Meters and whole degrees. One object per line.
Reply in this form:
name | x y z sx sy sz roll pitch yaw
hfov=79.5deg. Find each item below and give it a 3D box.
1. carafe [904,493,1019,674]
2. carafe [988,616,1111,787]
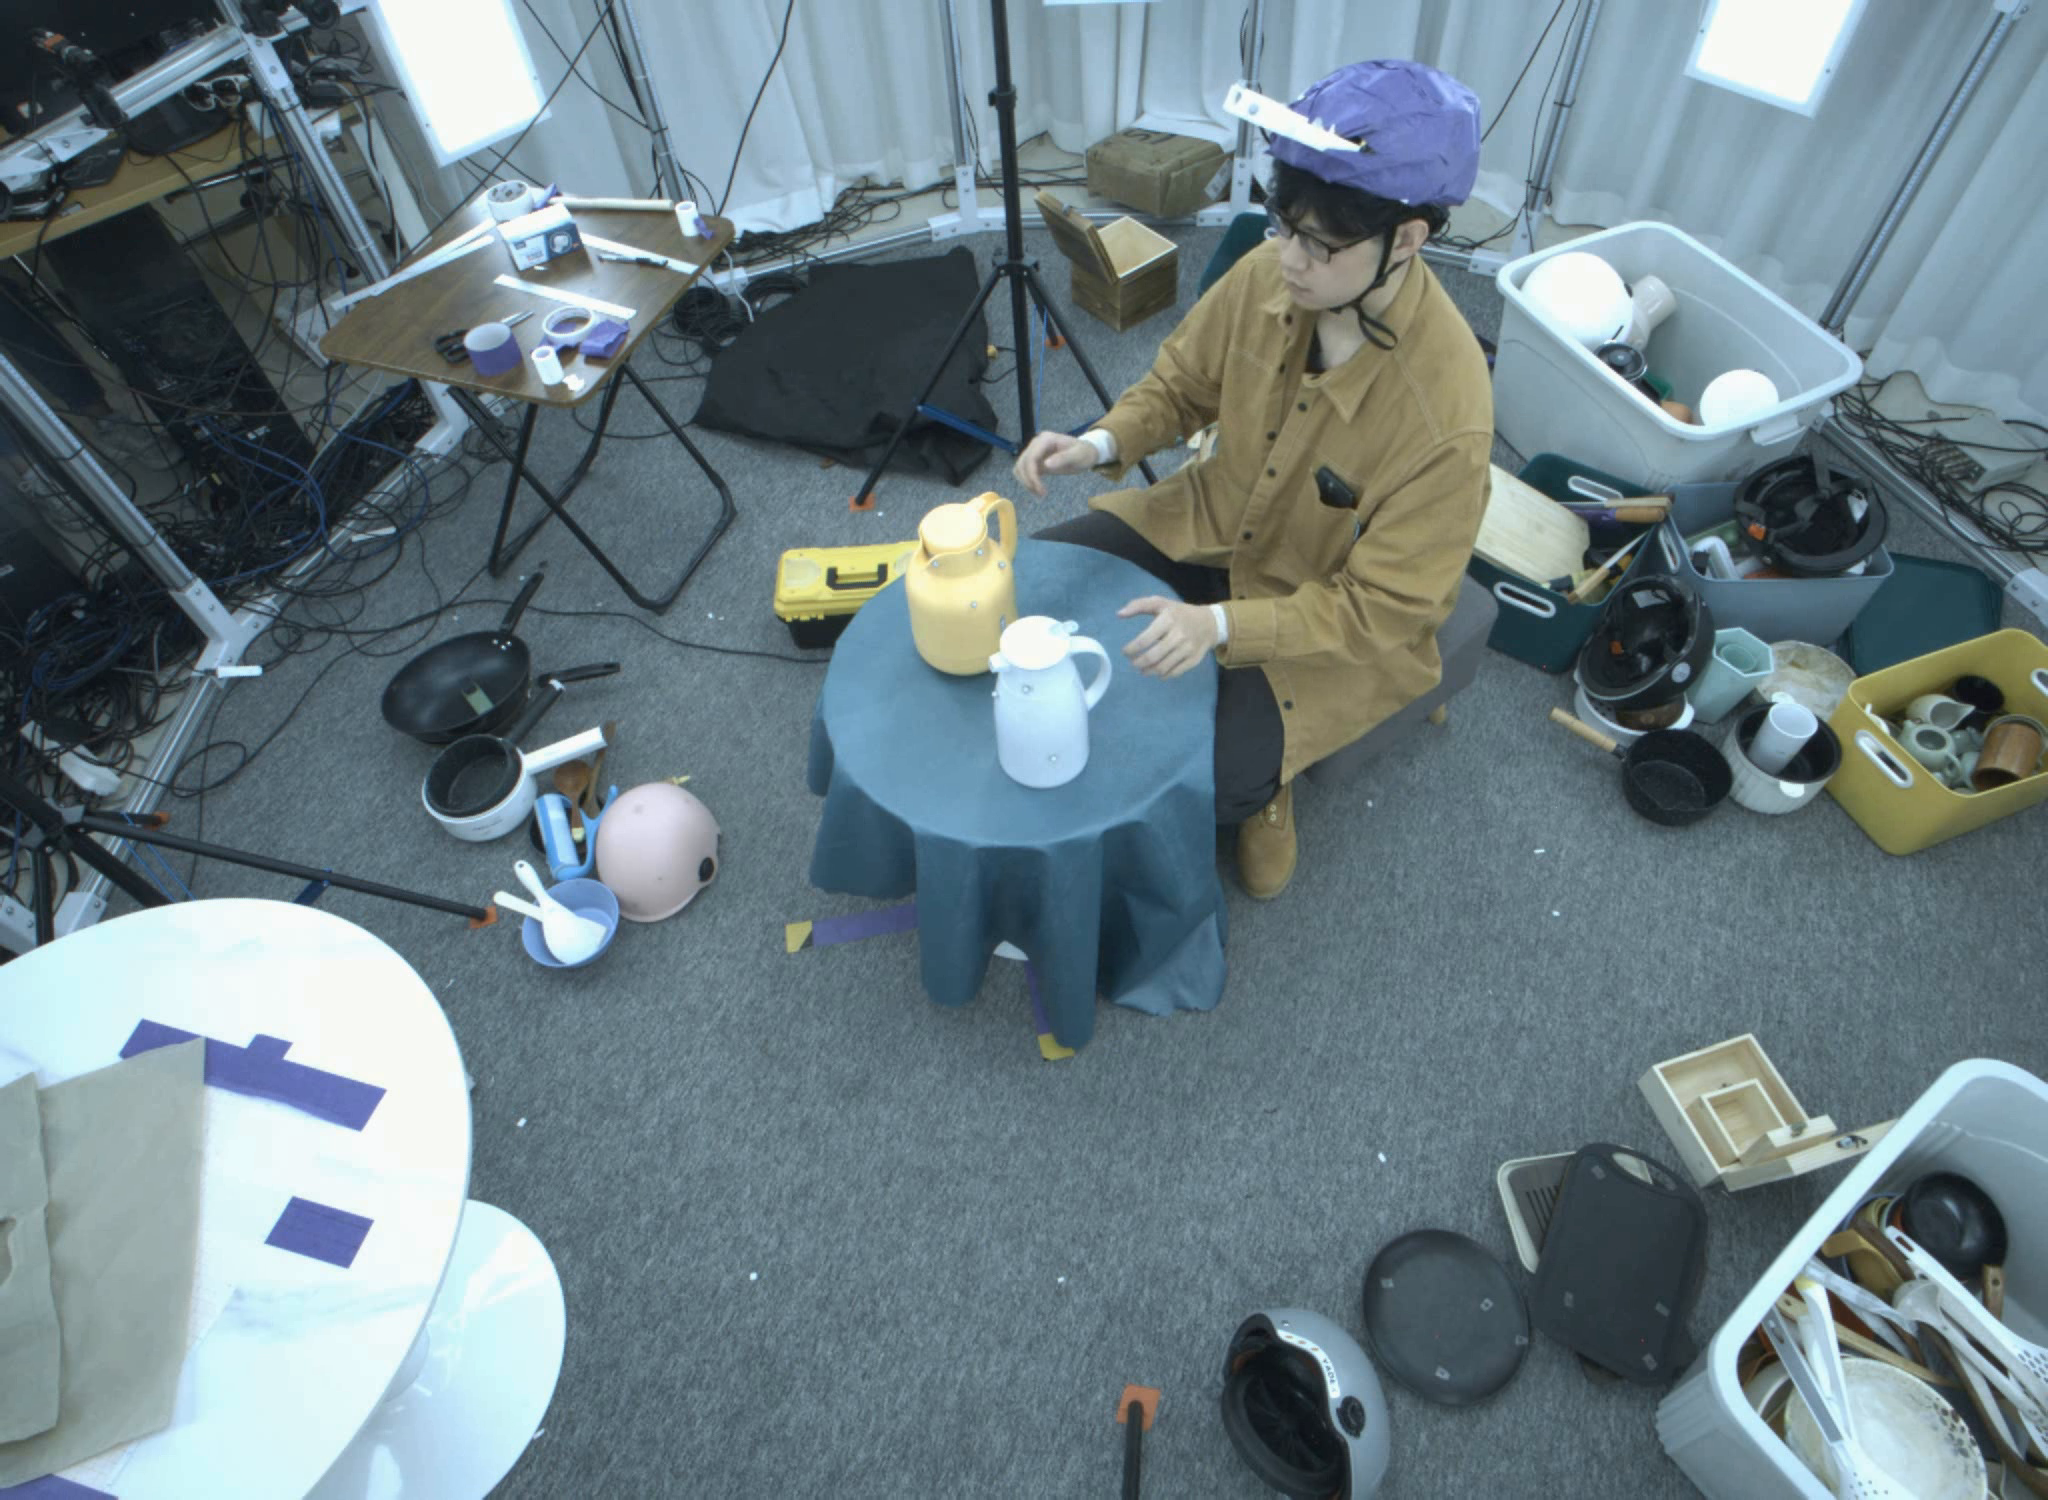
carafe | -0.082 -0.253 1.806 0.161 0.263 0.203 34 64 22
carafe | 0.038 -0.078 1.683 0.169 0.251 0.130 -18 55 -10
